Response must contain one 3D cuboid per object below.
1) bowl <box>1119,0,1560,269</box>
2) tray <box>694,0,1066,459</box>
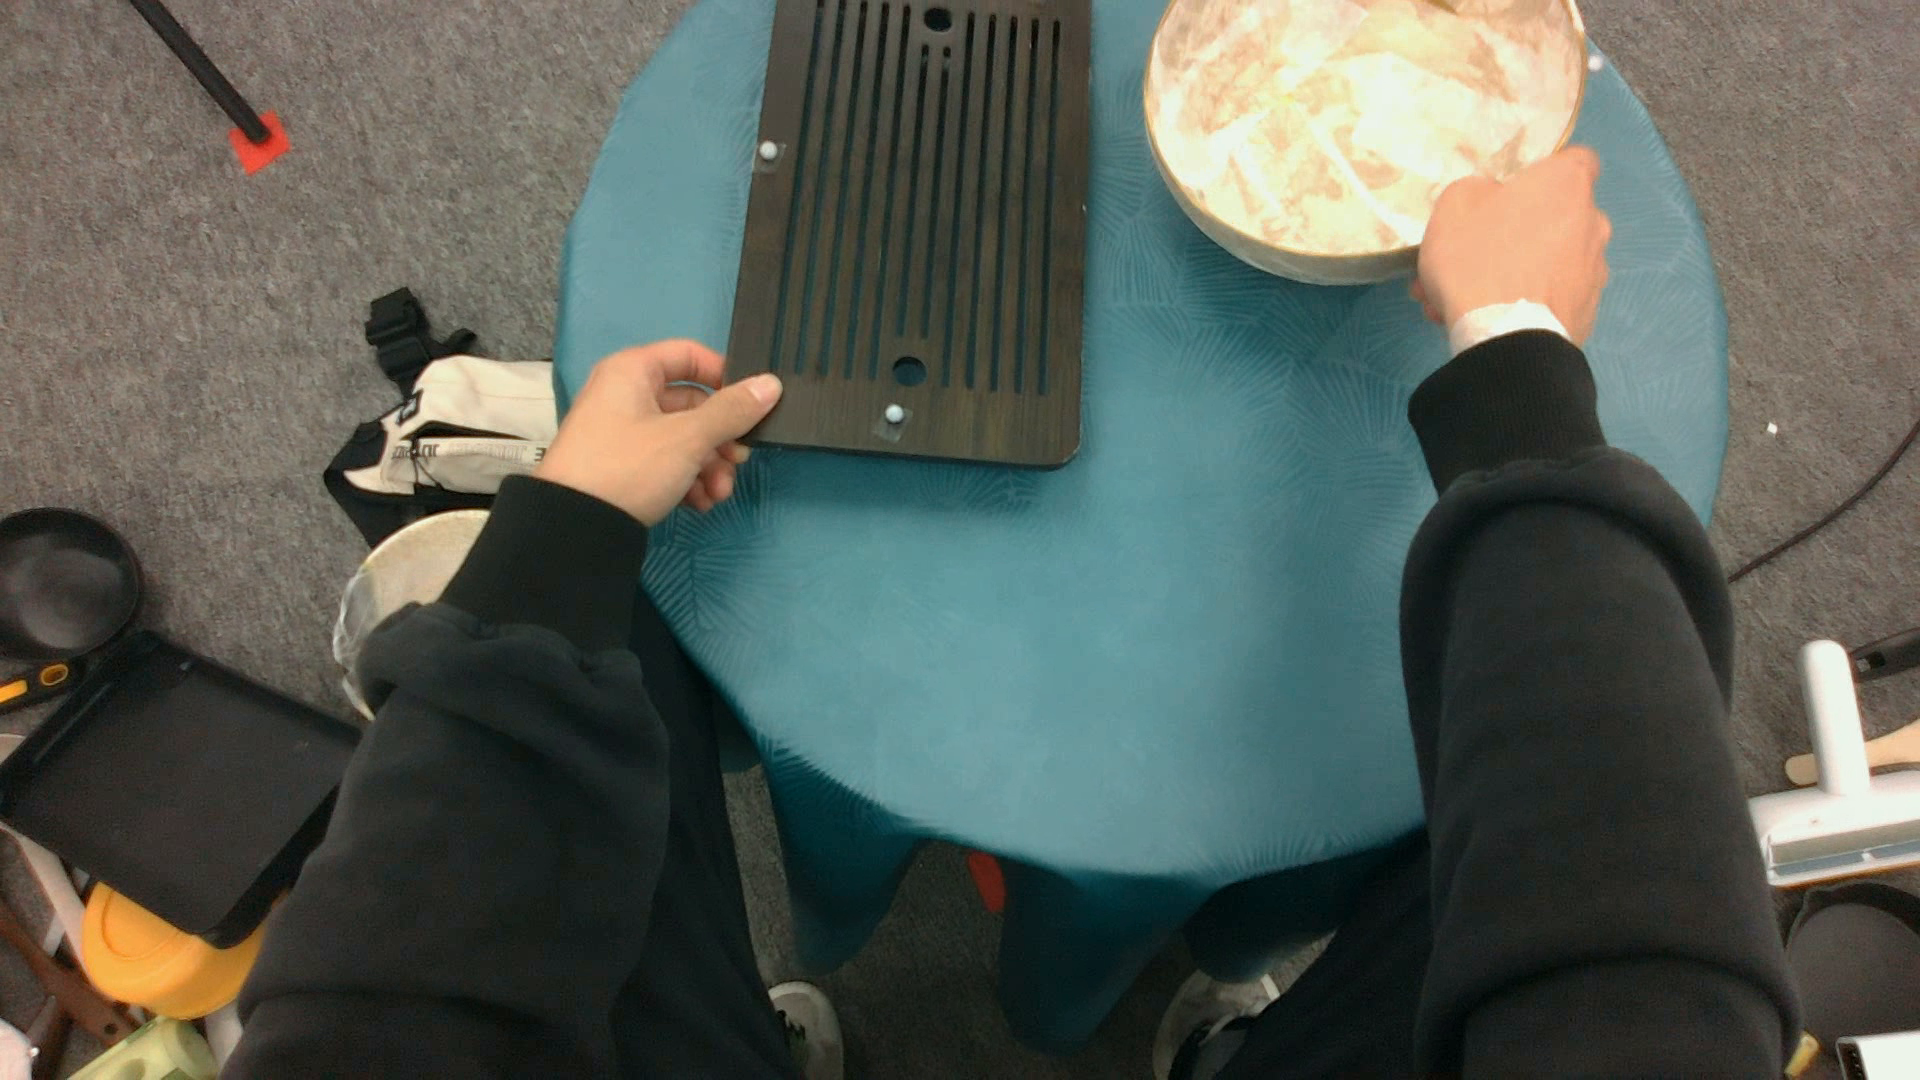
[{"bbox_3d":[0.183,-0.216,0.689,0.214,0.094,0.215,-4,73,13],"label":"bowl"},{"bbox_3d":[-0.033,-0.181,0.699,0.170,0.018,0.307,4,66,-3],"label":"tray"}]
